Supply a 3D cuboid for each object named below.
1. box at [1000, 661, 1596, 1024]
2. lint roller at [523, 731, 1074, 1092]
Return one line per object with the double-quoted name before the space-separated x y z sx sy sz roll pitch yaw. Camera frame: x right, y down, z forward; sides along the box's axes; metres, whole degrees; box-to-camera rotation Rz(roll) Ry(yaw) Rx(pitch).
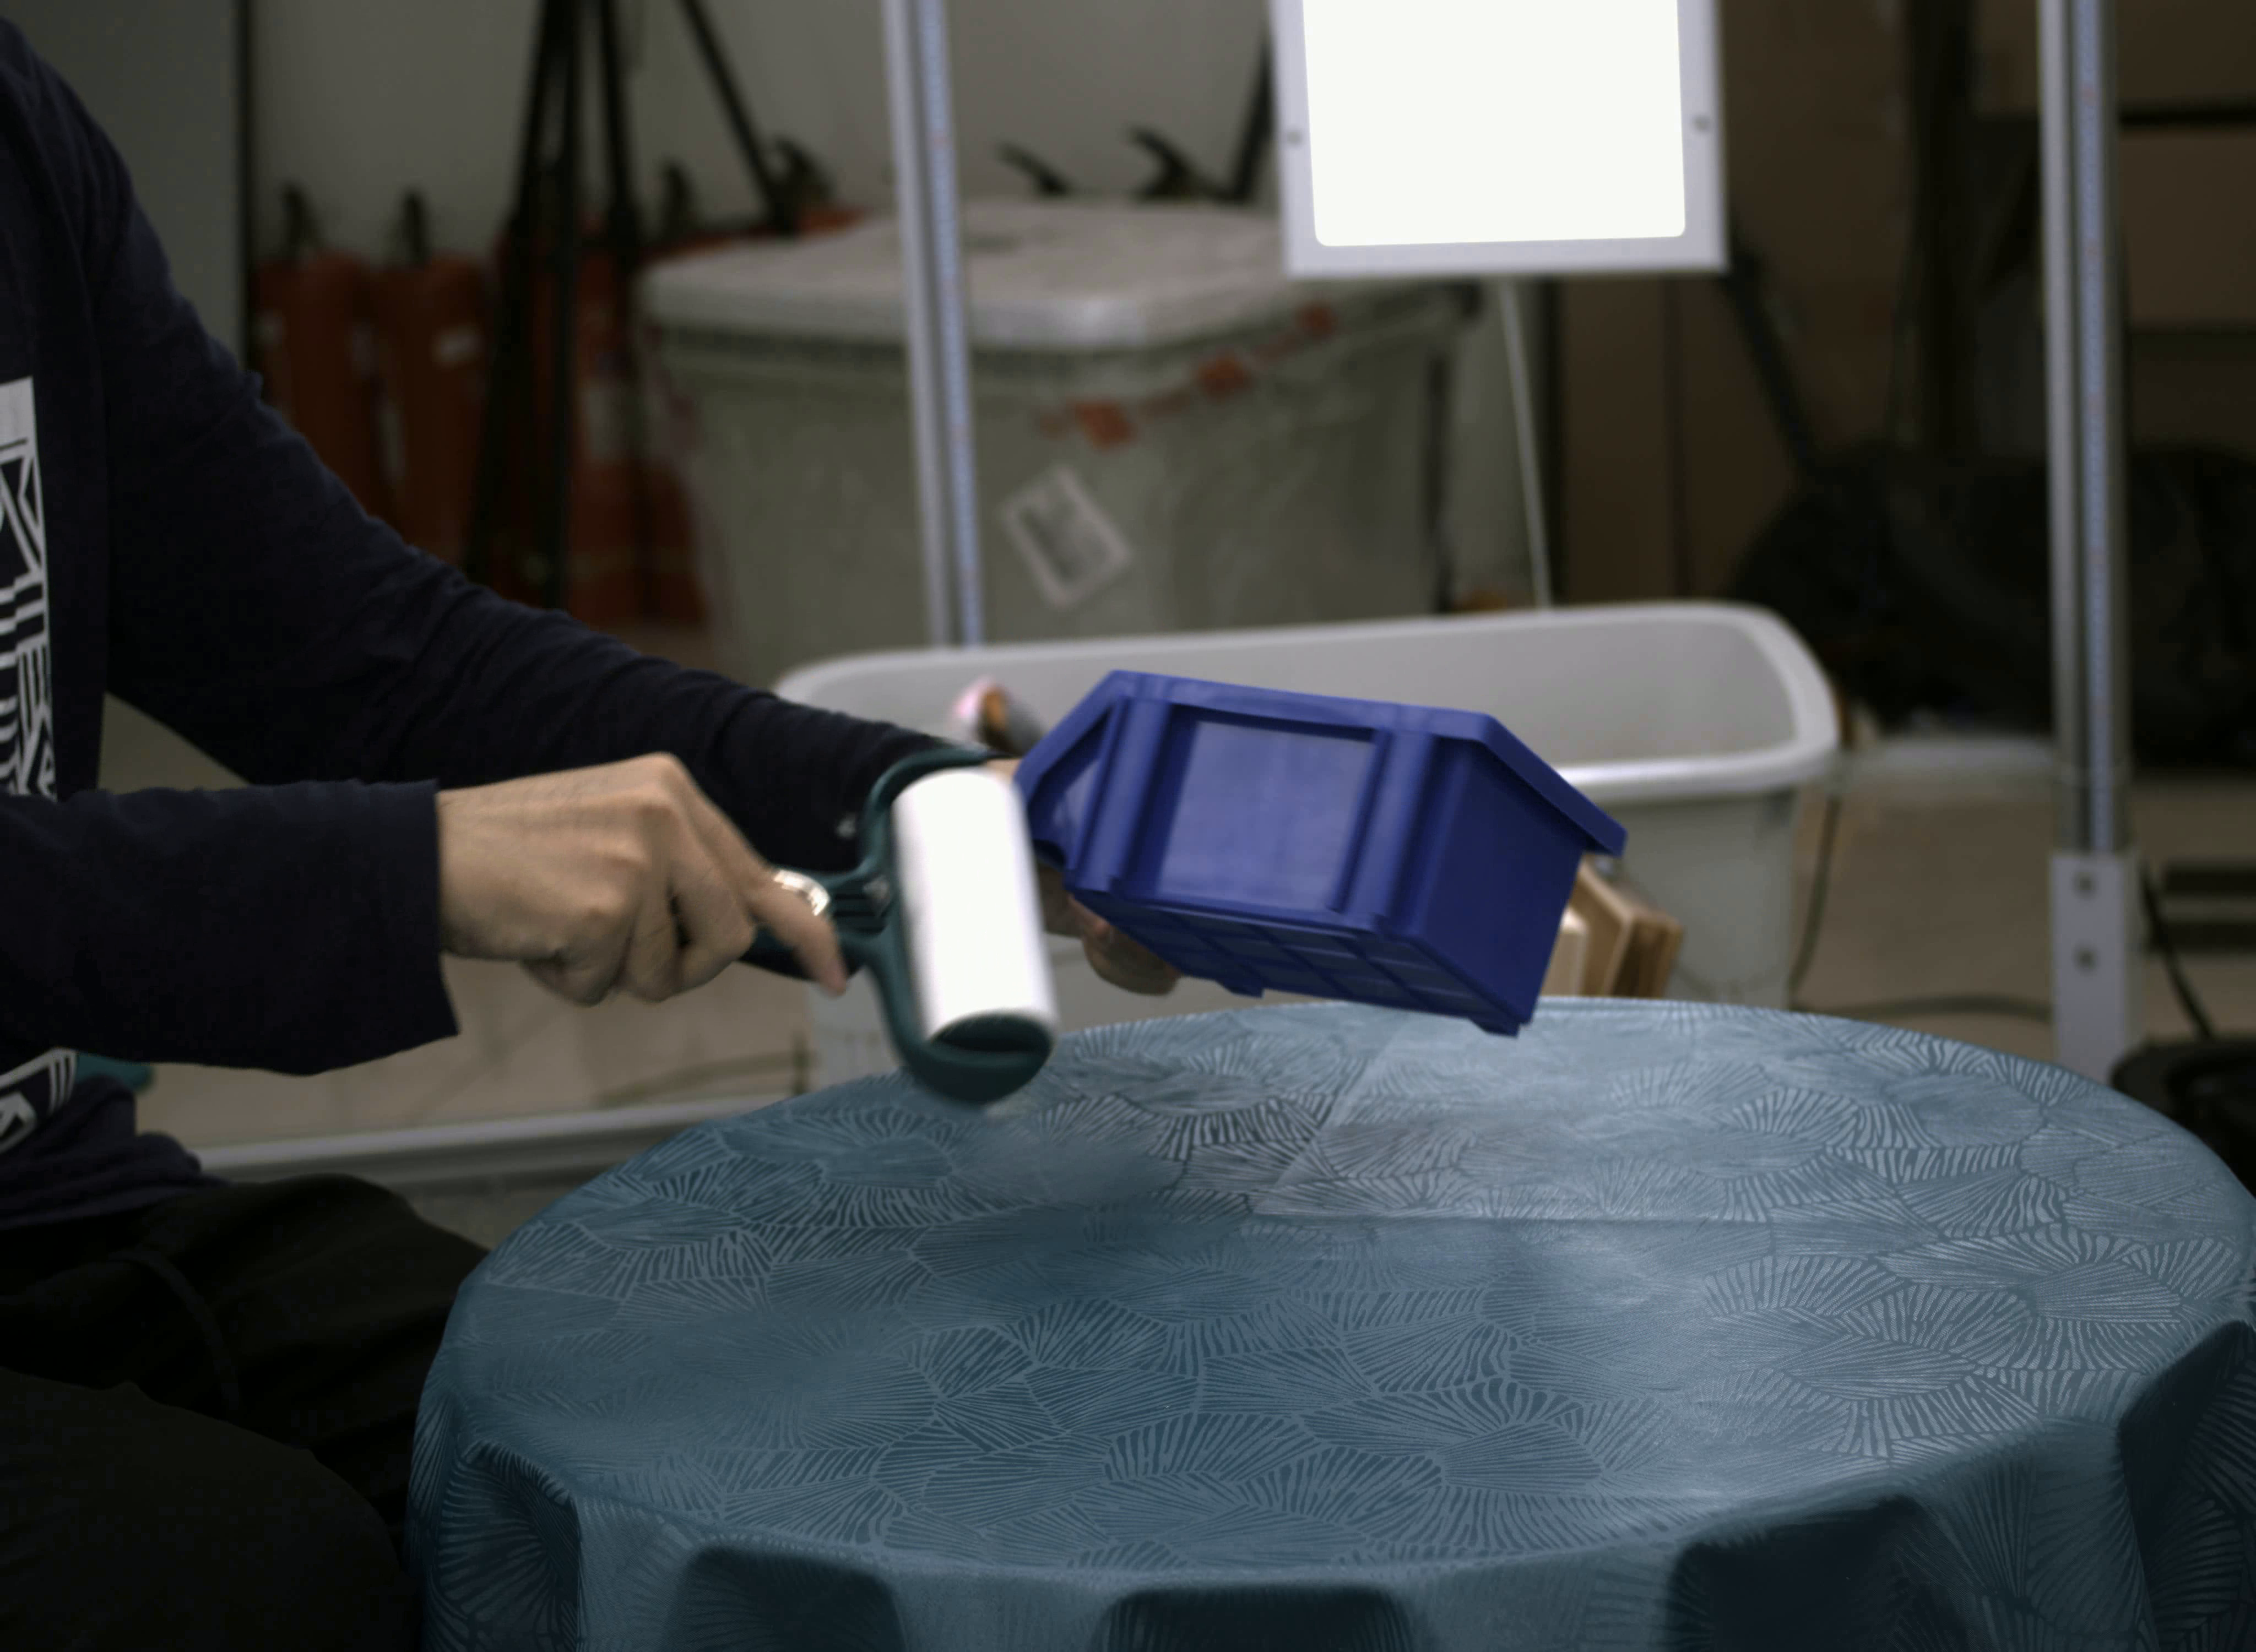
"box" 0.049 0.004 1.908 0.183 0.082 0.122 9 -13 37
"lint roller" -0.109 0.021 1.831 0.177 0.049 0.134 6 52 -22
